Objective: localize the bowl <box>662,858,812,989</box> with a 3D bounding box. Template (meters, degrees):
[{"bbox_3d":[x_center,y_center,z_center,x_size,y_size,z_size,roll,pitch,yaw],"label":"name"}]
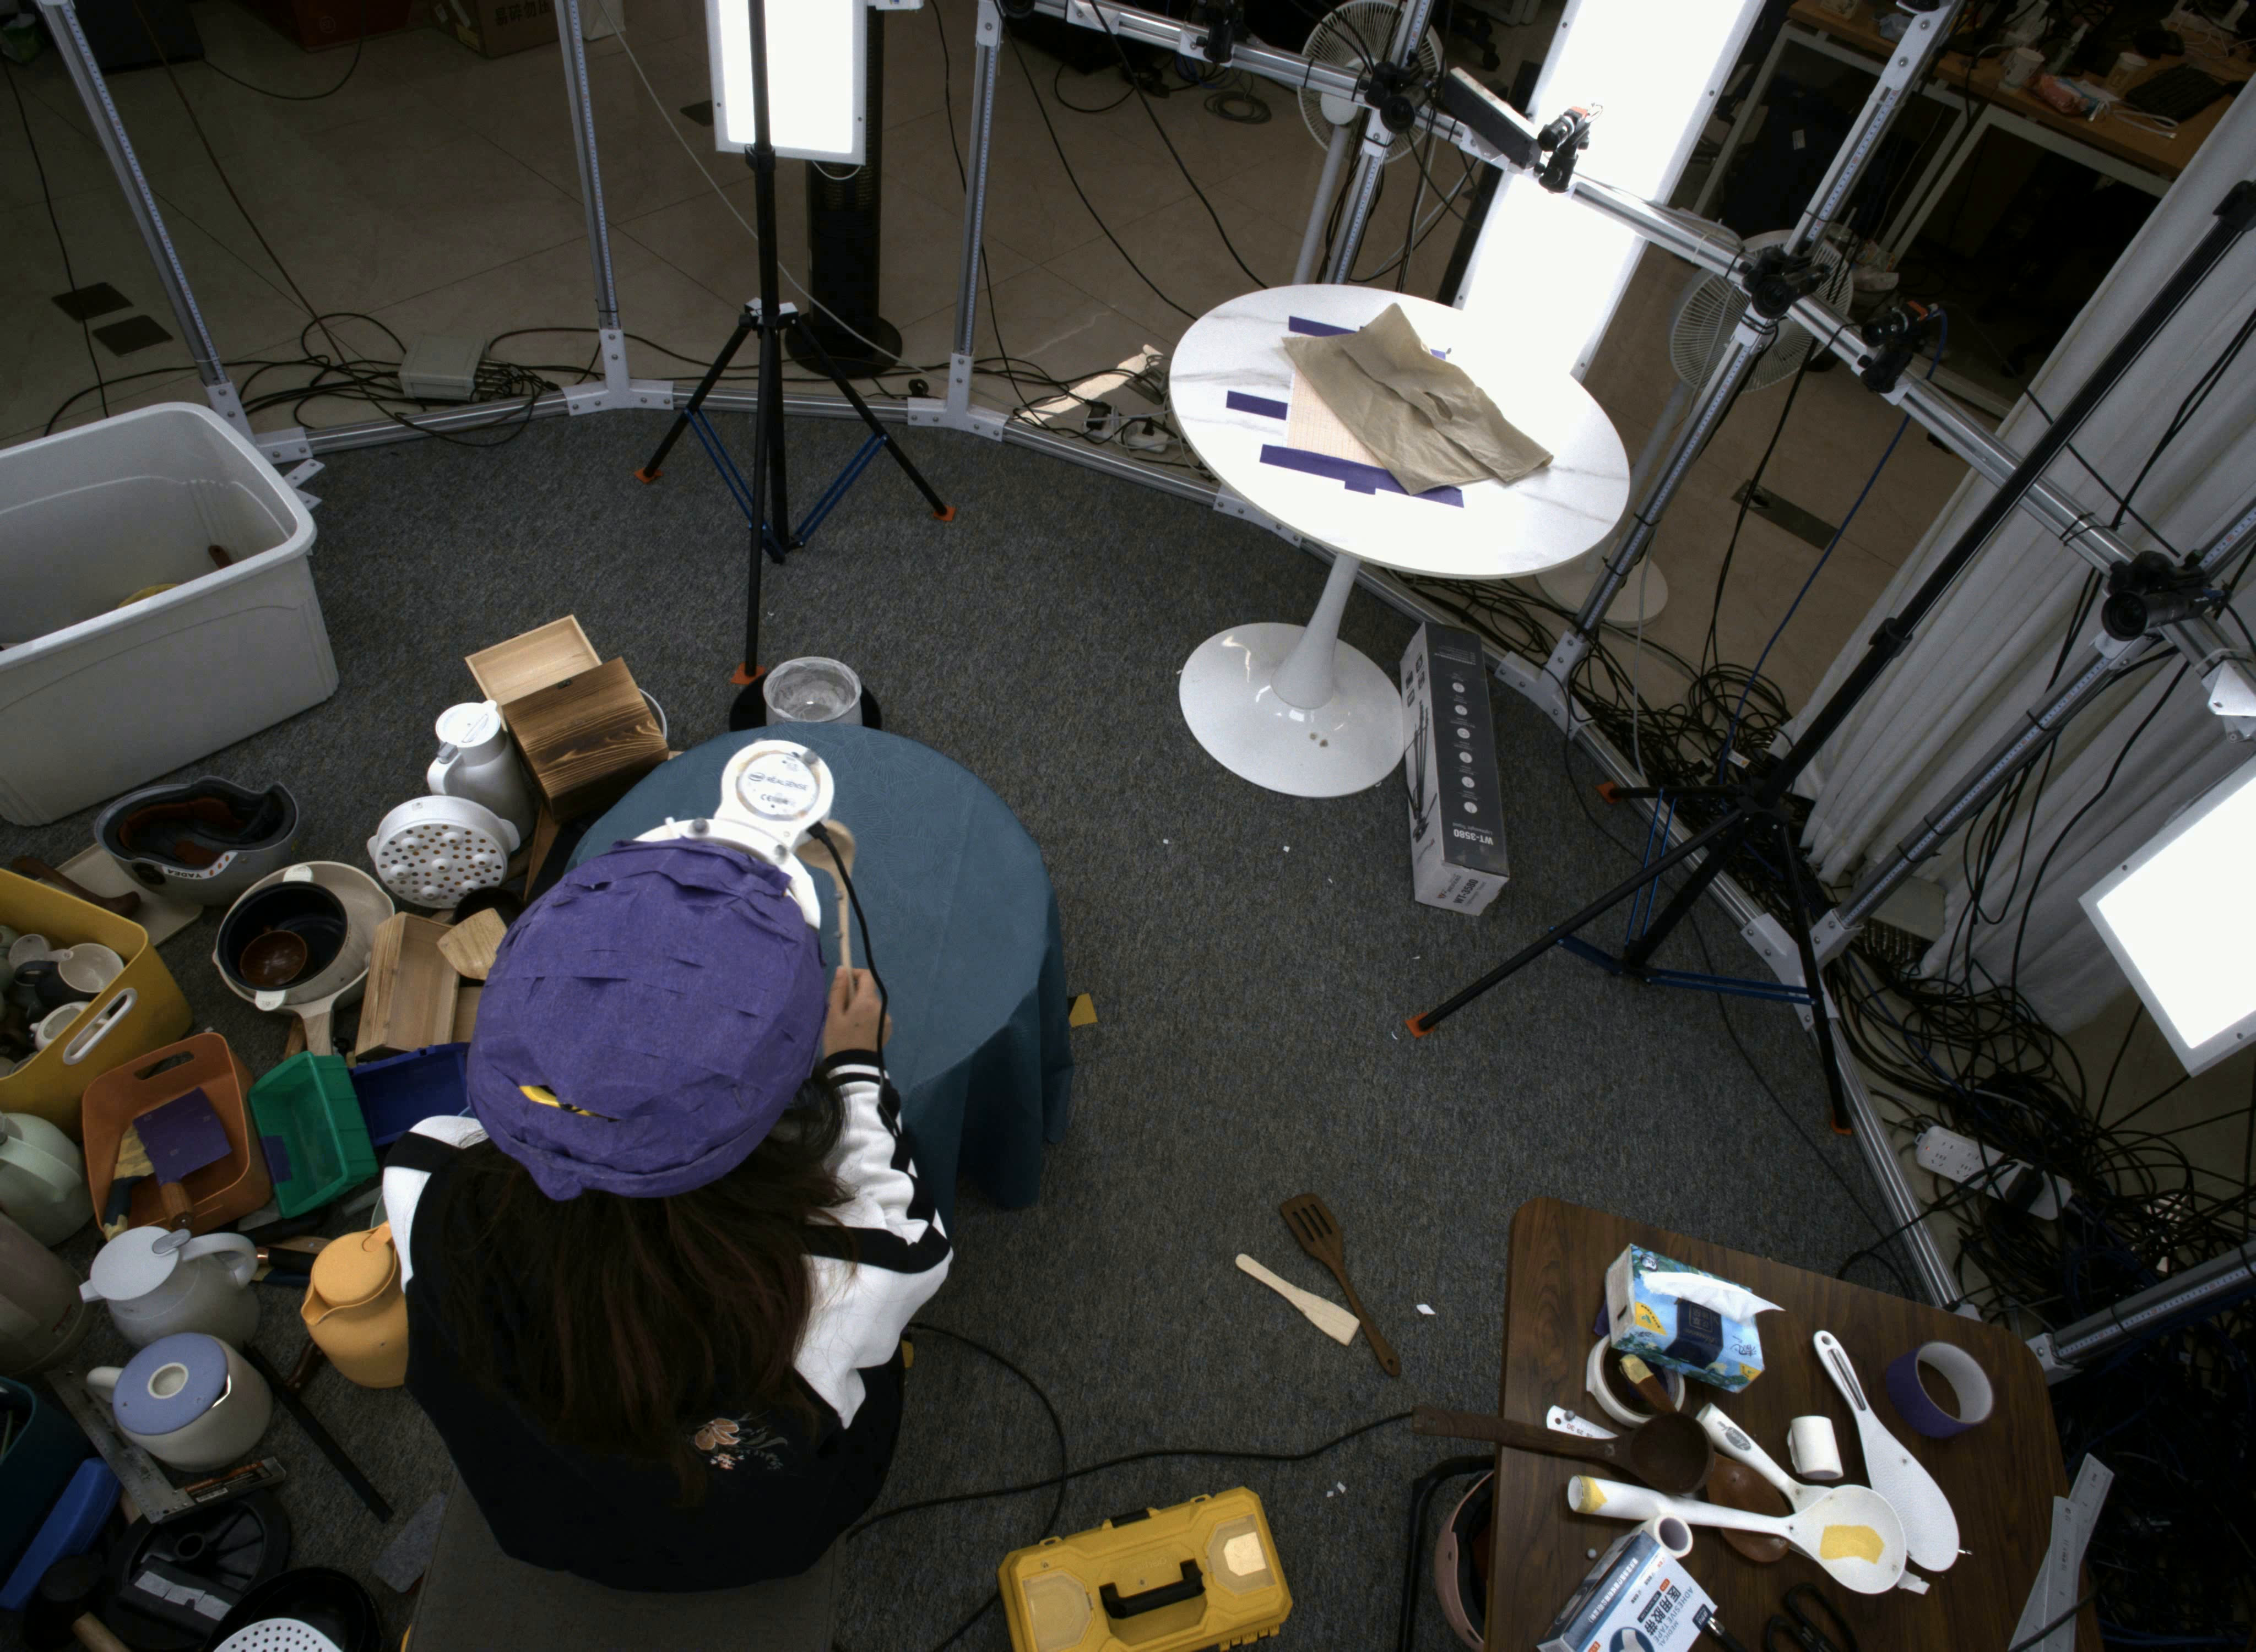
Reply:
[{"bbox_3d":[-0.471,0.127,1.566,0.175,0.072,0.173,7,52,-8],"label":"bowl"}]

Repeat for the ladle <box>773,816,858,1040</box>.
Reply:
[{"bbox_3d":[-0.350,0.111,1.456,0.071,0.075,0.252,-21,69,23],"label":"ladle"}]
